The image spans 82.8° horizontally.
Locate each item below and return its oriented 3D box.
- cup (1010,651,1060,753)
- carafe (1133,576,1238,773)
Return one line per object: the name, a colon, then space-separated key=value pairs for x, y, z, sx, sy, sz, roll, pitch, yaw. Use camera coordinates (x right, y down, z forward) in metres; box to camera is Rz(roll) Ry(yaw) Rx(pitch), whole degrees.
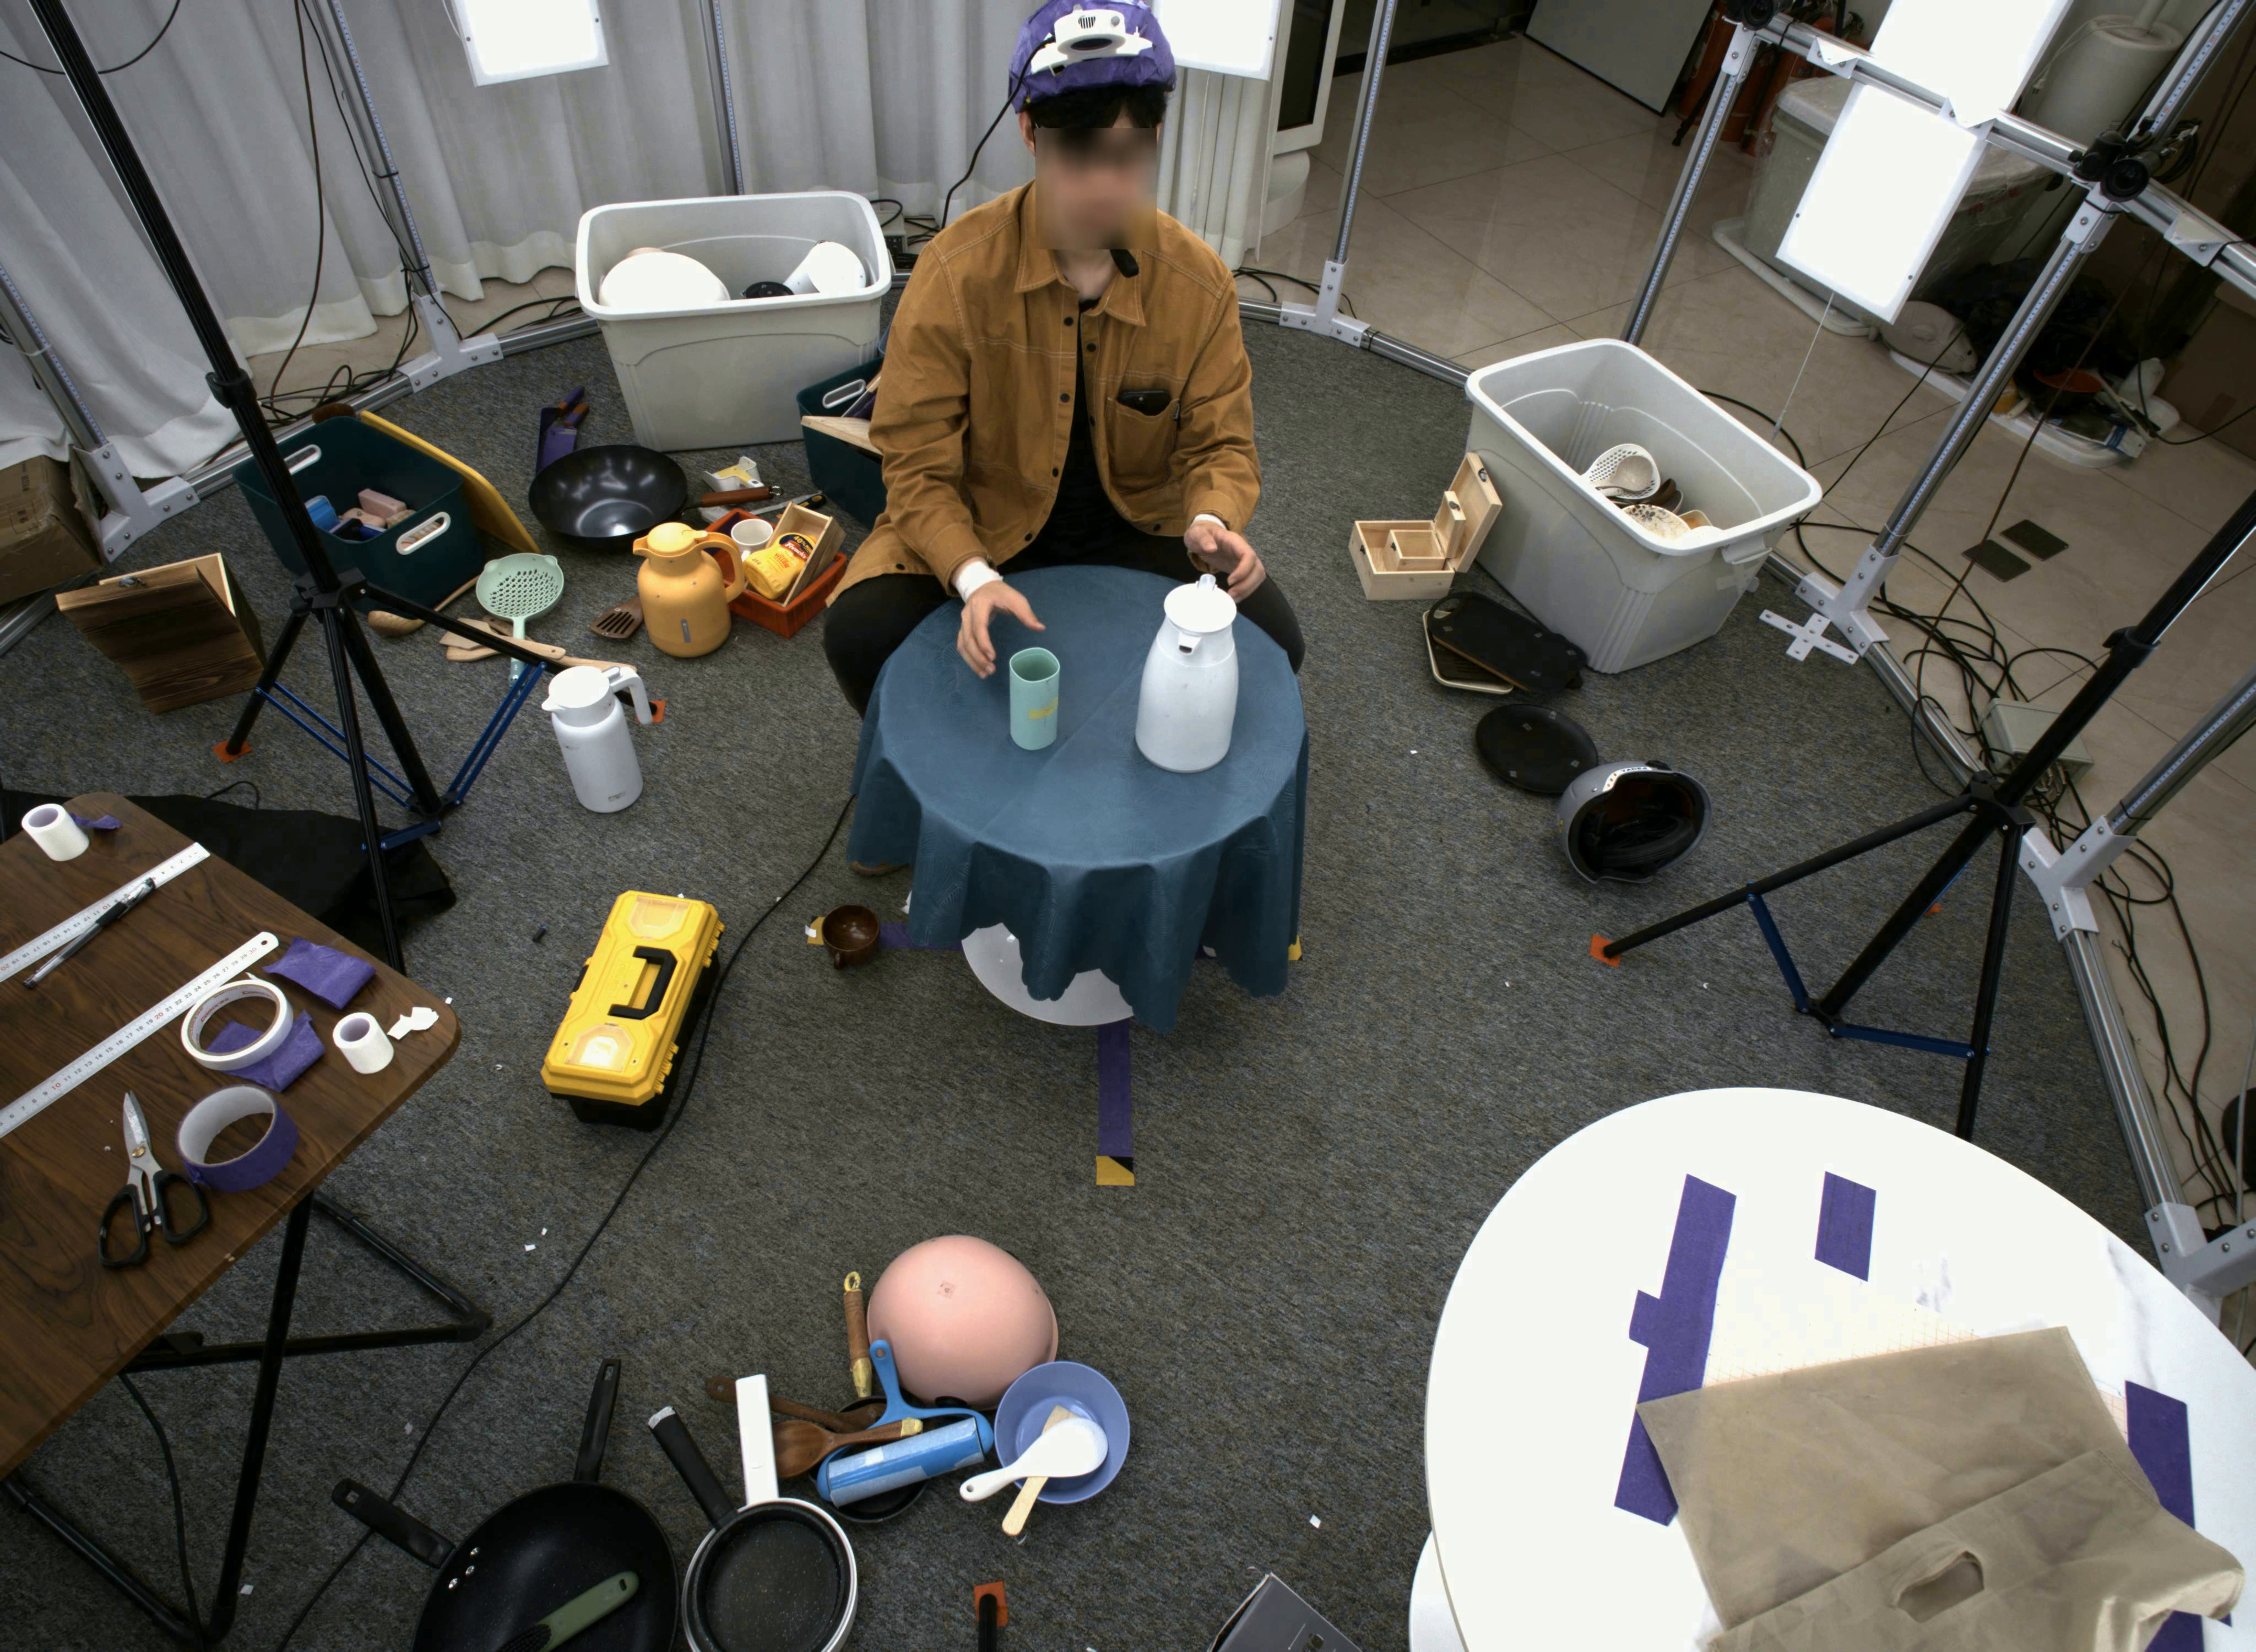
cup: x=-0.126 y=-0.167 z=1.727 sx=0.066 sy=0.129 sz=0.068 roll=2 pitch=49 yaw=-3
carafe: x=0.087 y=-0.213 z=1.702 sx=0.133 sy=0.242 sz=0.171 roll=17 pitch=49 yaw=8
